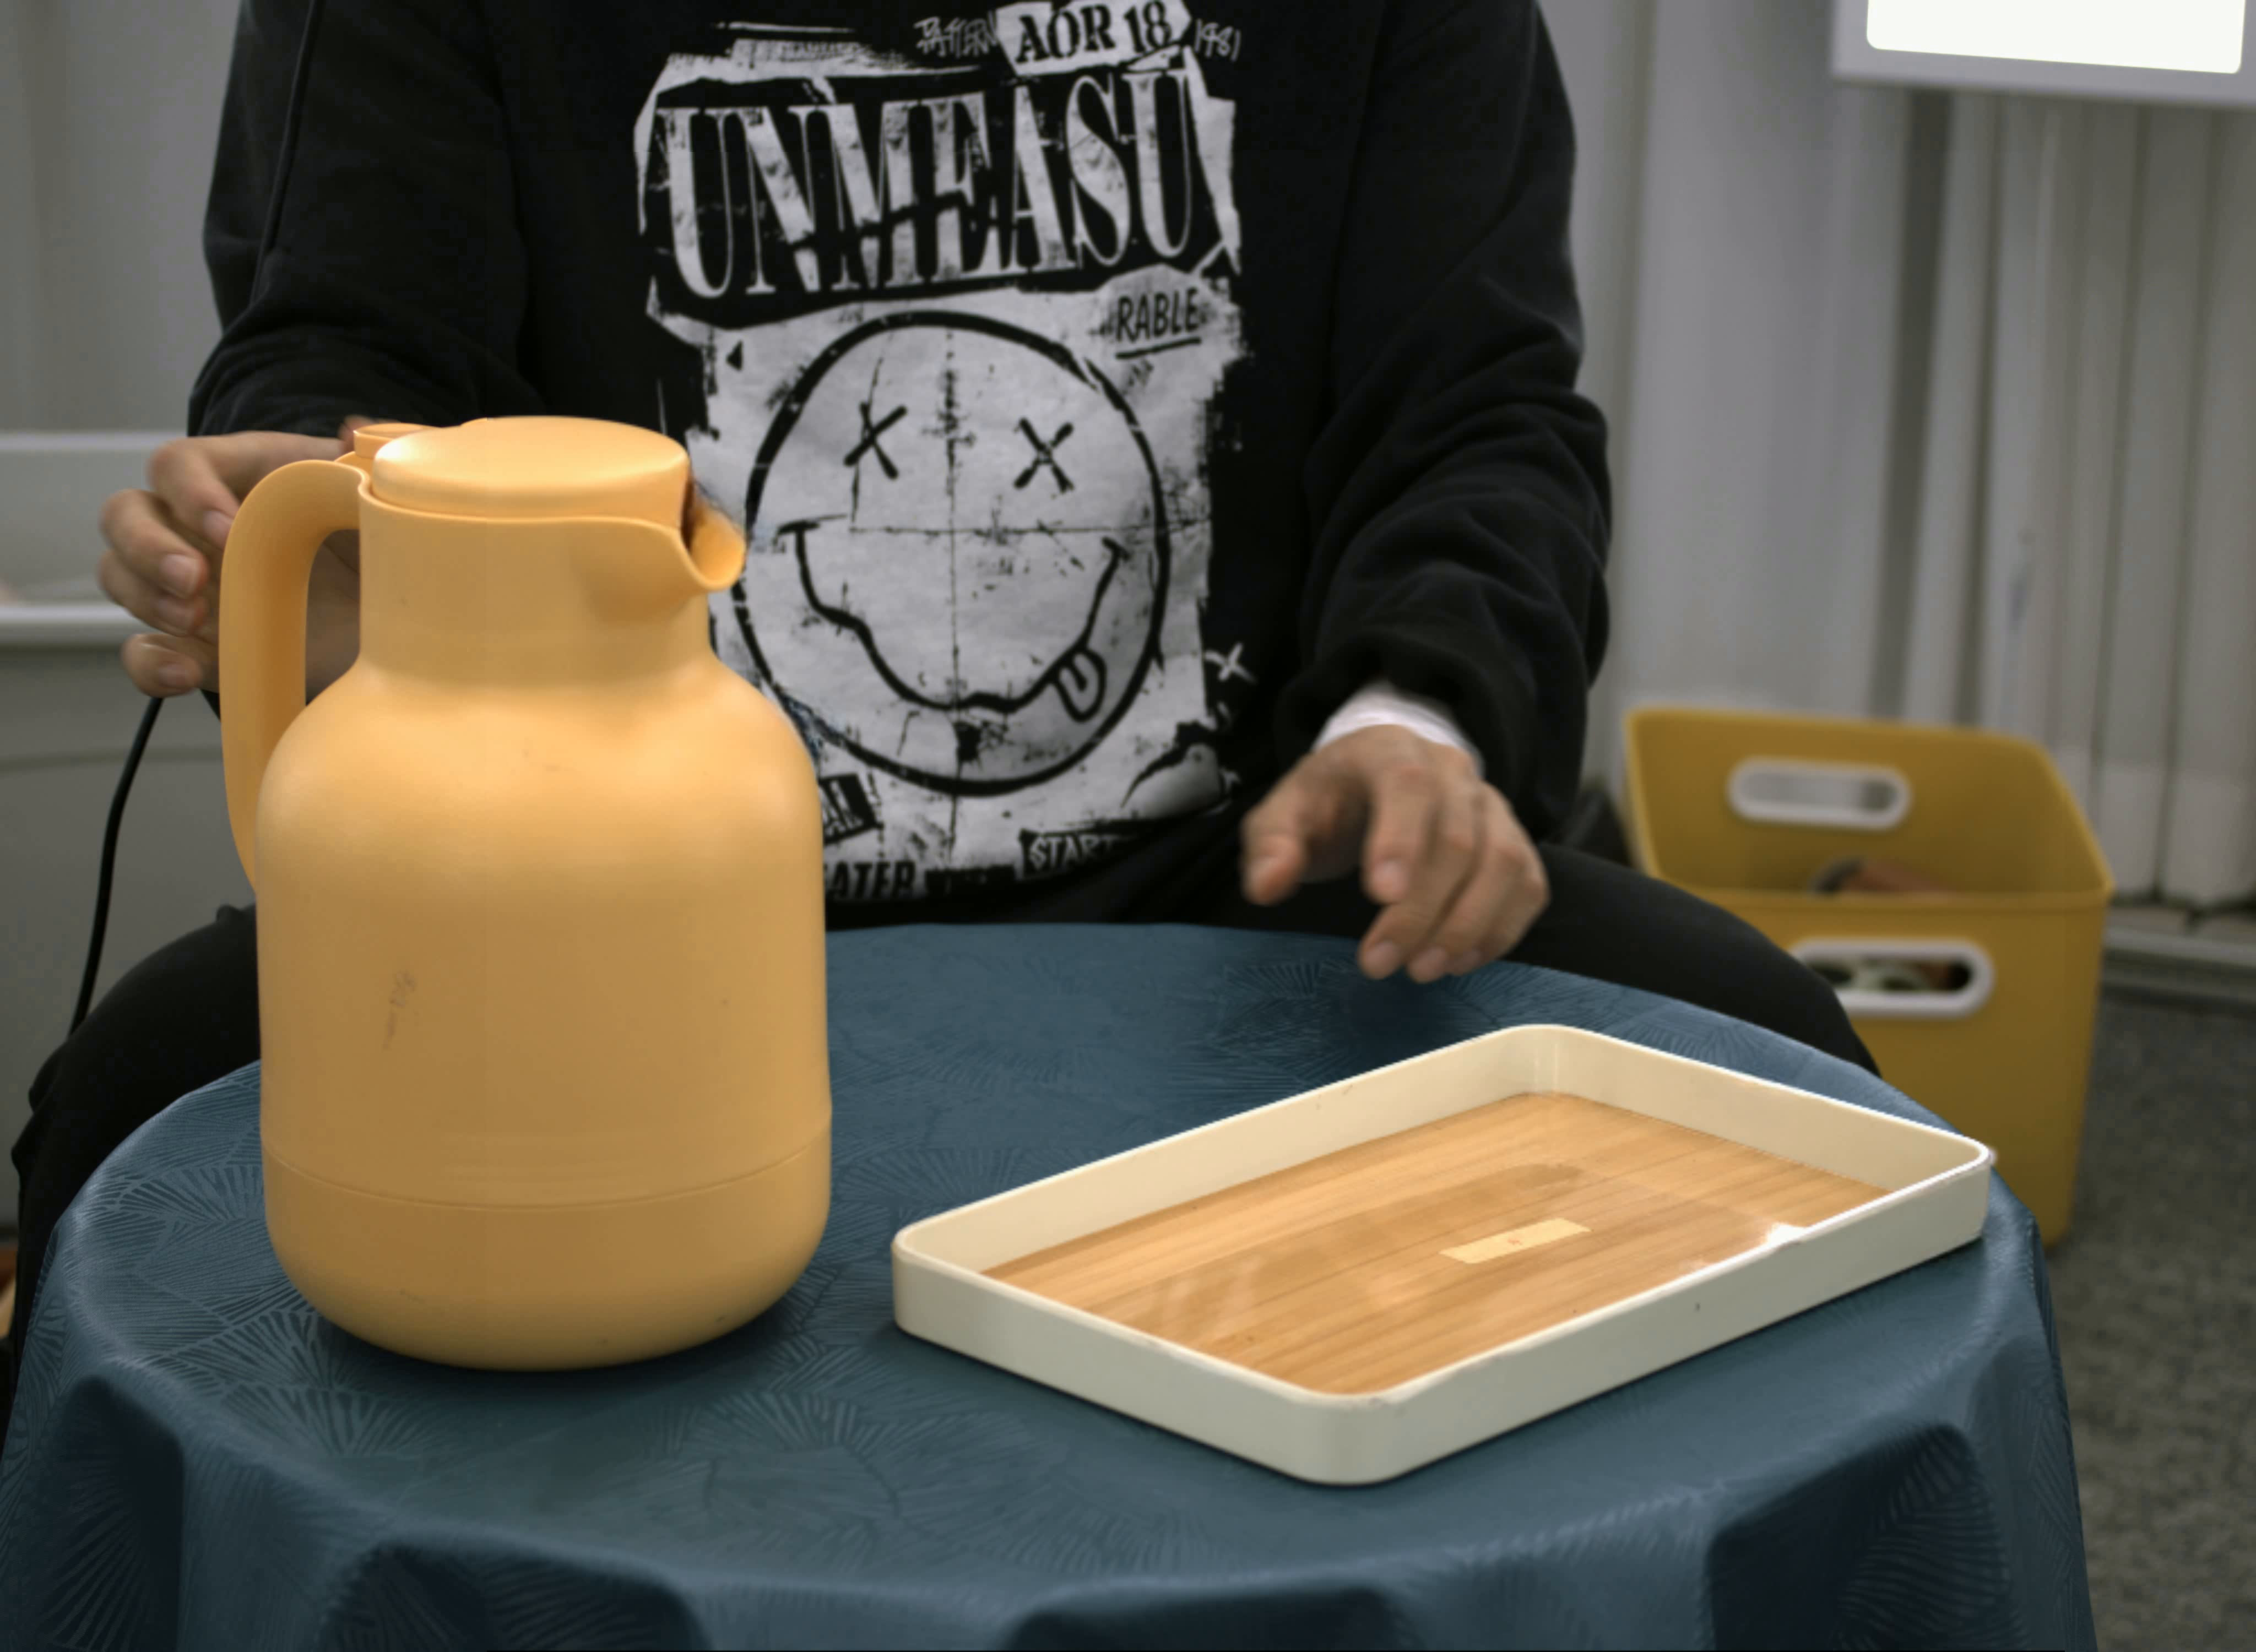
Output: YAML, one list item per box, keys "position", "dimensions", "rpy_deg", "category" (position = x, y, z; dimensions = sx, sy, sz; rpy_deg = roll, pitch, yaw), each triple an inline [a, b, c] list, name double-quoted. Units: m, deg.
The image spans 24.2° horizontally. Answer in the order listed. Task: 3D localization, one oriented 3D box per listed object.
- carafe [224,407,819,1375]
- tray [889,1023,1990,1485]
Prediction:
- position: [-0.181, 0.010, 1.498]
  dimensions: [0.199, 0.262, 0.164]
  rpy_deg: [15, 19, 39]
  category: "carafe"
- position: [0.095, 0.120, 1.548]
  dimensions: [0.189, 0.027, 0.302]
  rpy_deg: [15, 21, 42]
  category: "tray"
